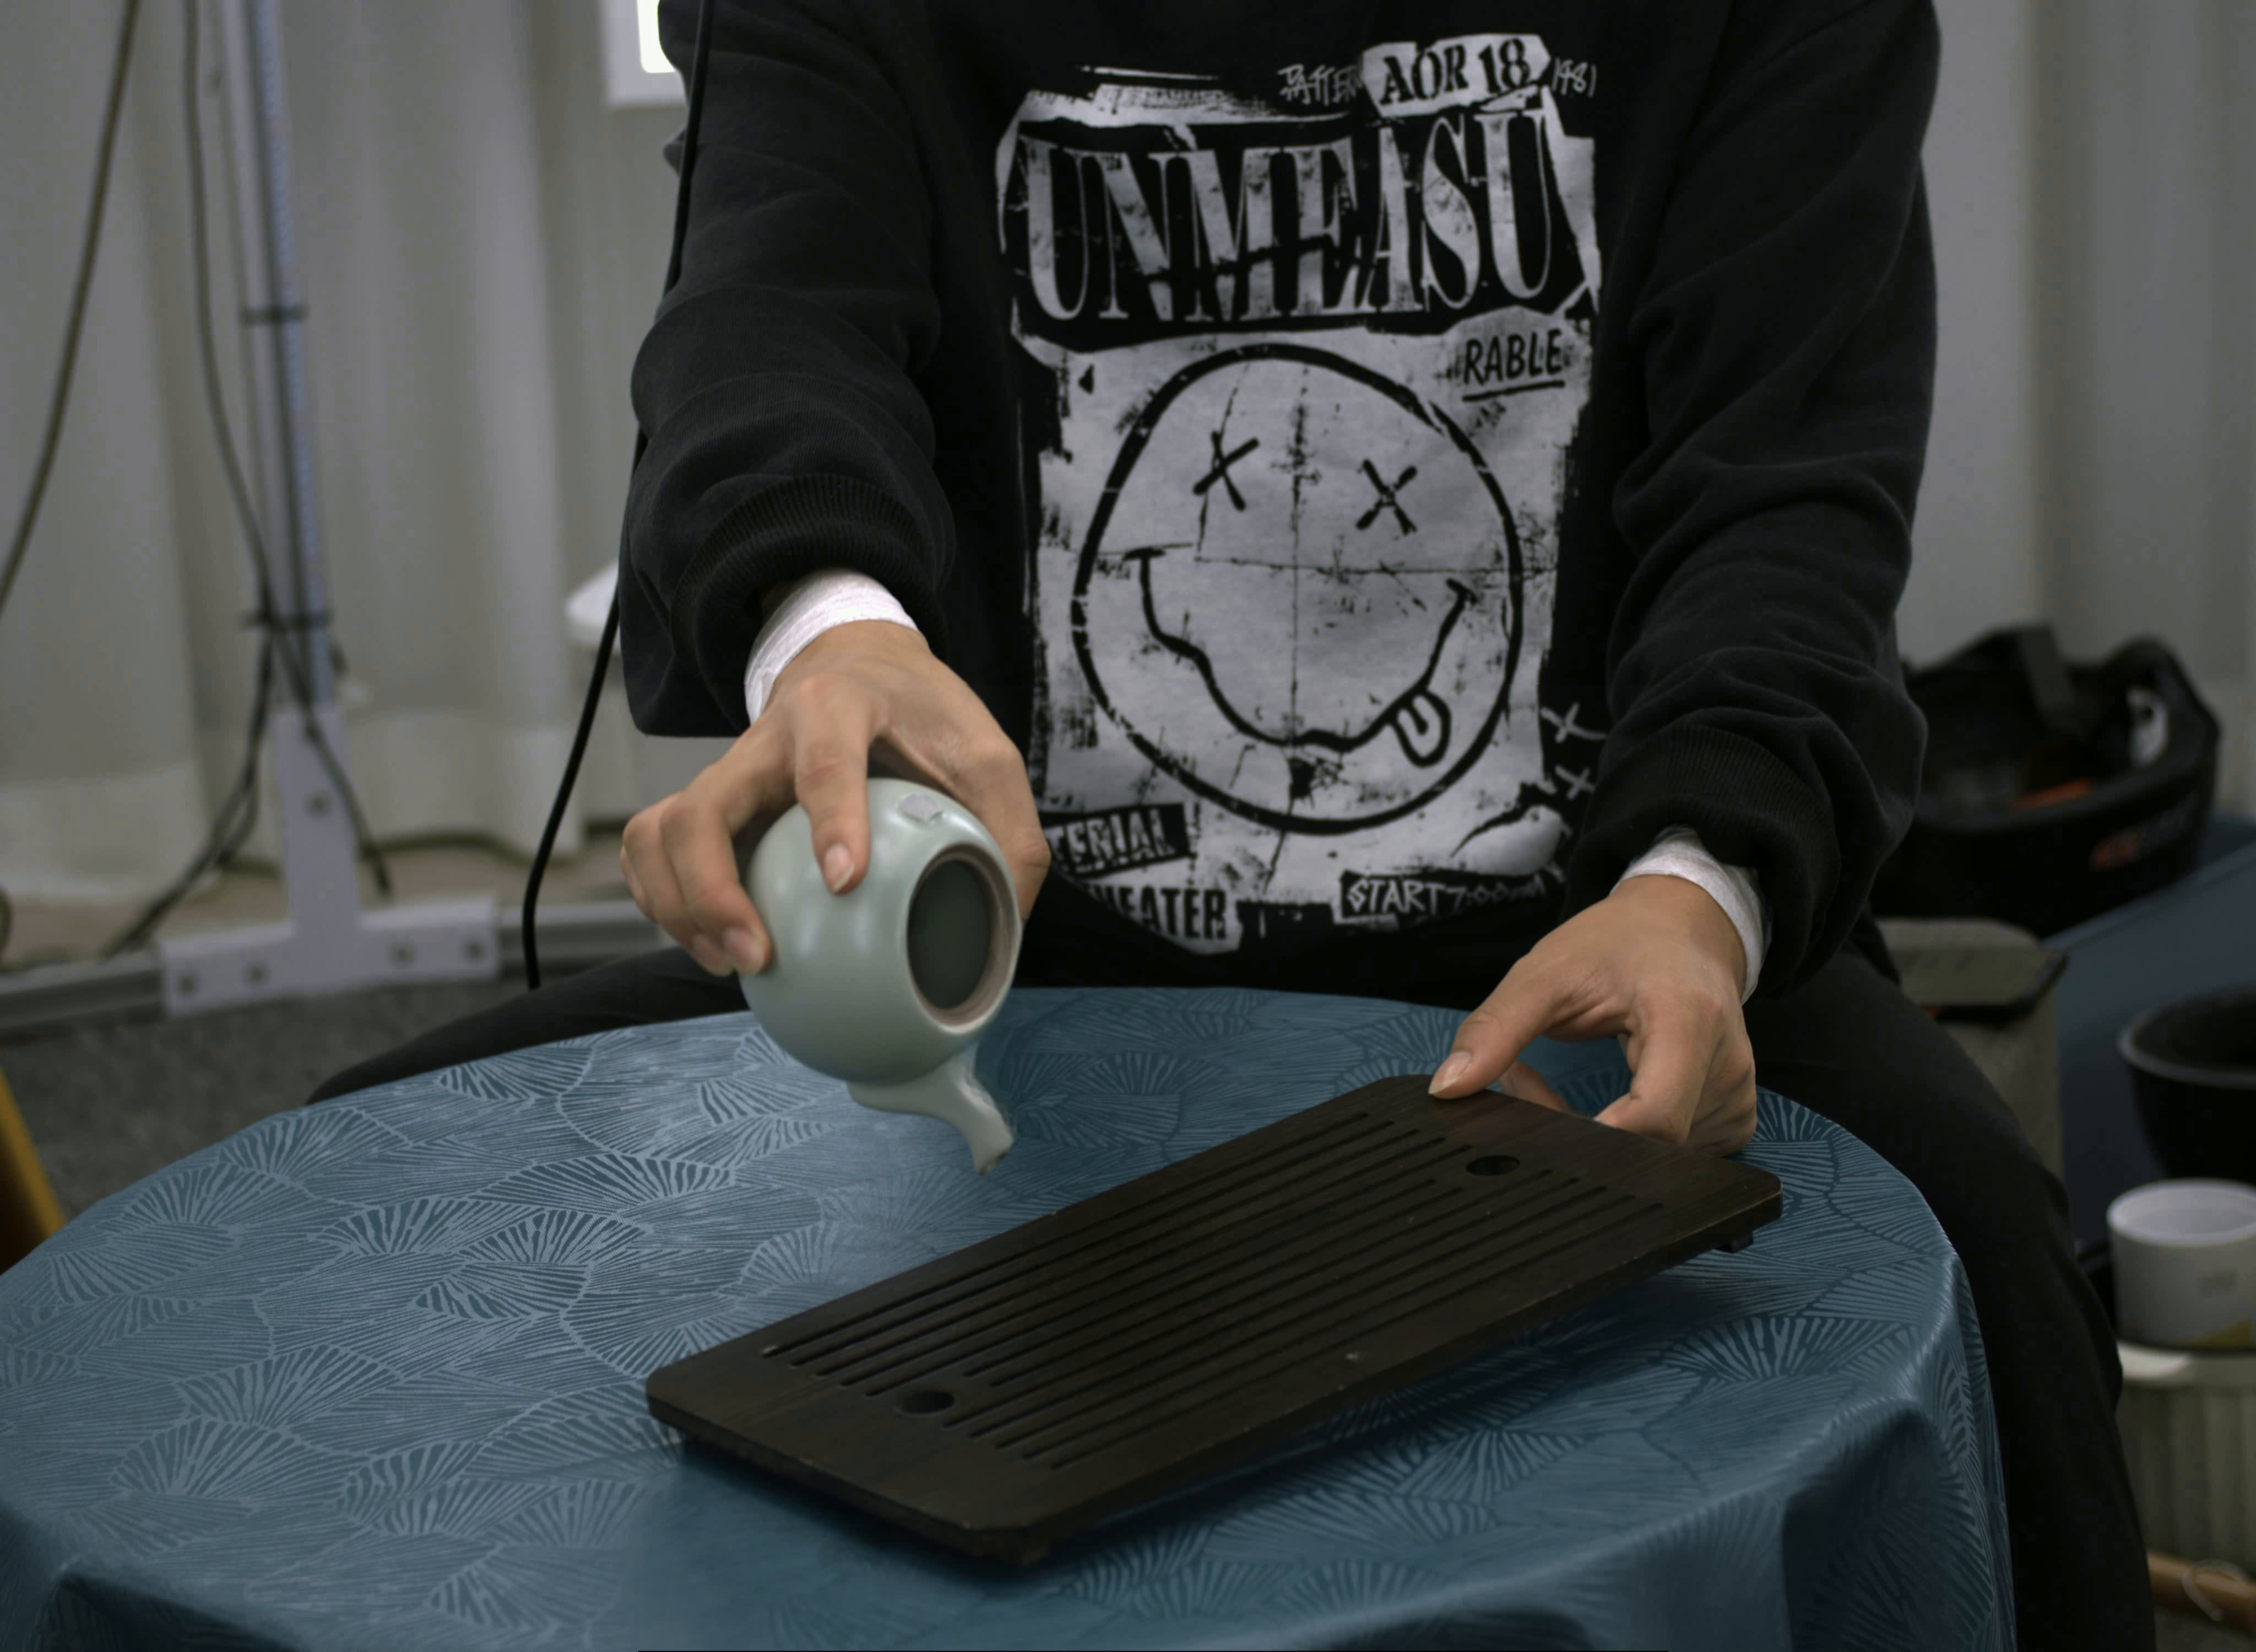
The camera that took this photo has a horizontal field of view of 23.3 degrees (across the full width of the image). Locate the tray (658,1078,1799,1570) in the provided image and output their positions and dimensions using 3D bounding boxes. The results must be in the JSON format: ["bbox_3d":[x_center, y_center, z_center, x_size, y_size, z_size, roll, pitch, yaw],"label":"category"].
[{"bbox_3d":[0.032,0.138,1.553,0.305,0.018,0.171,-19,21,-36],"label":"tray"}]

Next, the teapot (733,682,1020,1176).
[{"bbox_3d":[-0.071,0.028,1.570,0.075,0.143,0.088,5,15,33],"label":"teapot"}]
